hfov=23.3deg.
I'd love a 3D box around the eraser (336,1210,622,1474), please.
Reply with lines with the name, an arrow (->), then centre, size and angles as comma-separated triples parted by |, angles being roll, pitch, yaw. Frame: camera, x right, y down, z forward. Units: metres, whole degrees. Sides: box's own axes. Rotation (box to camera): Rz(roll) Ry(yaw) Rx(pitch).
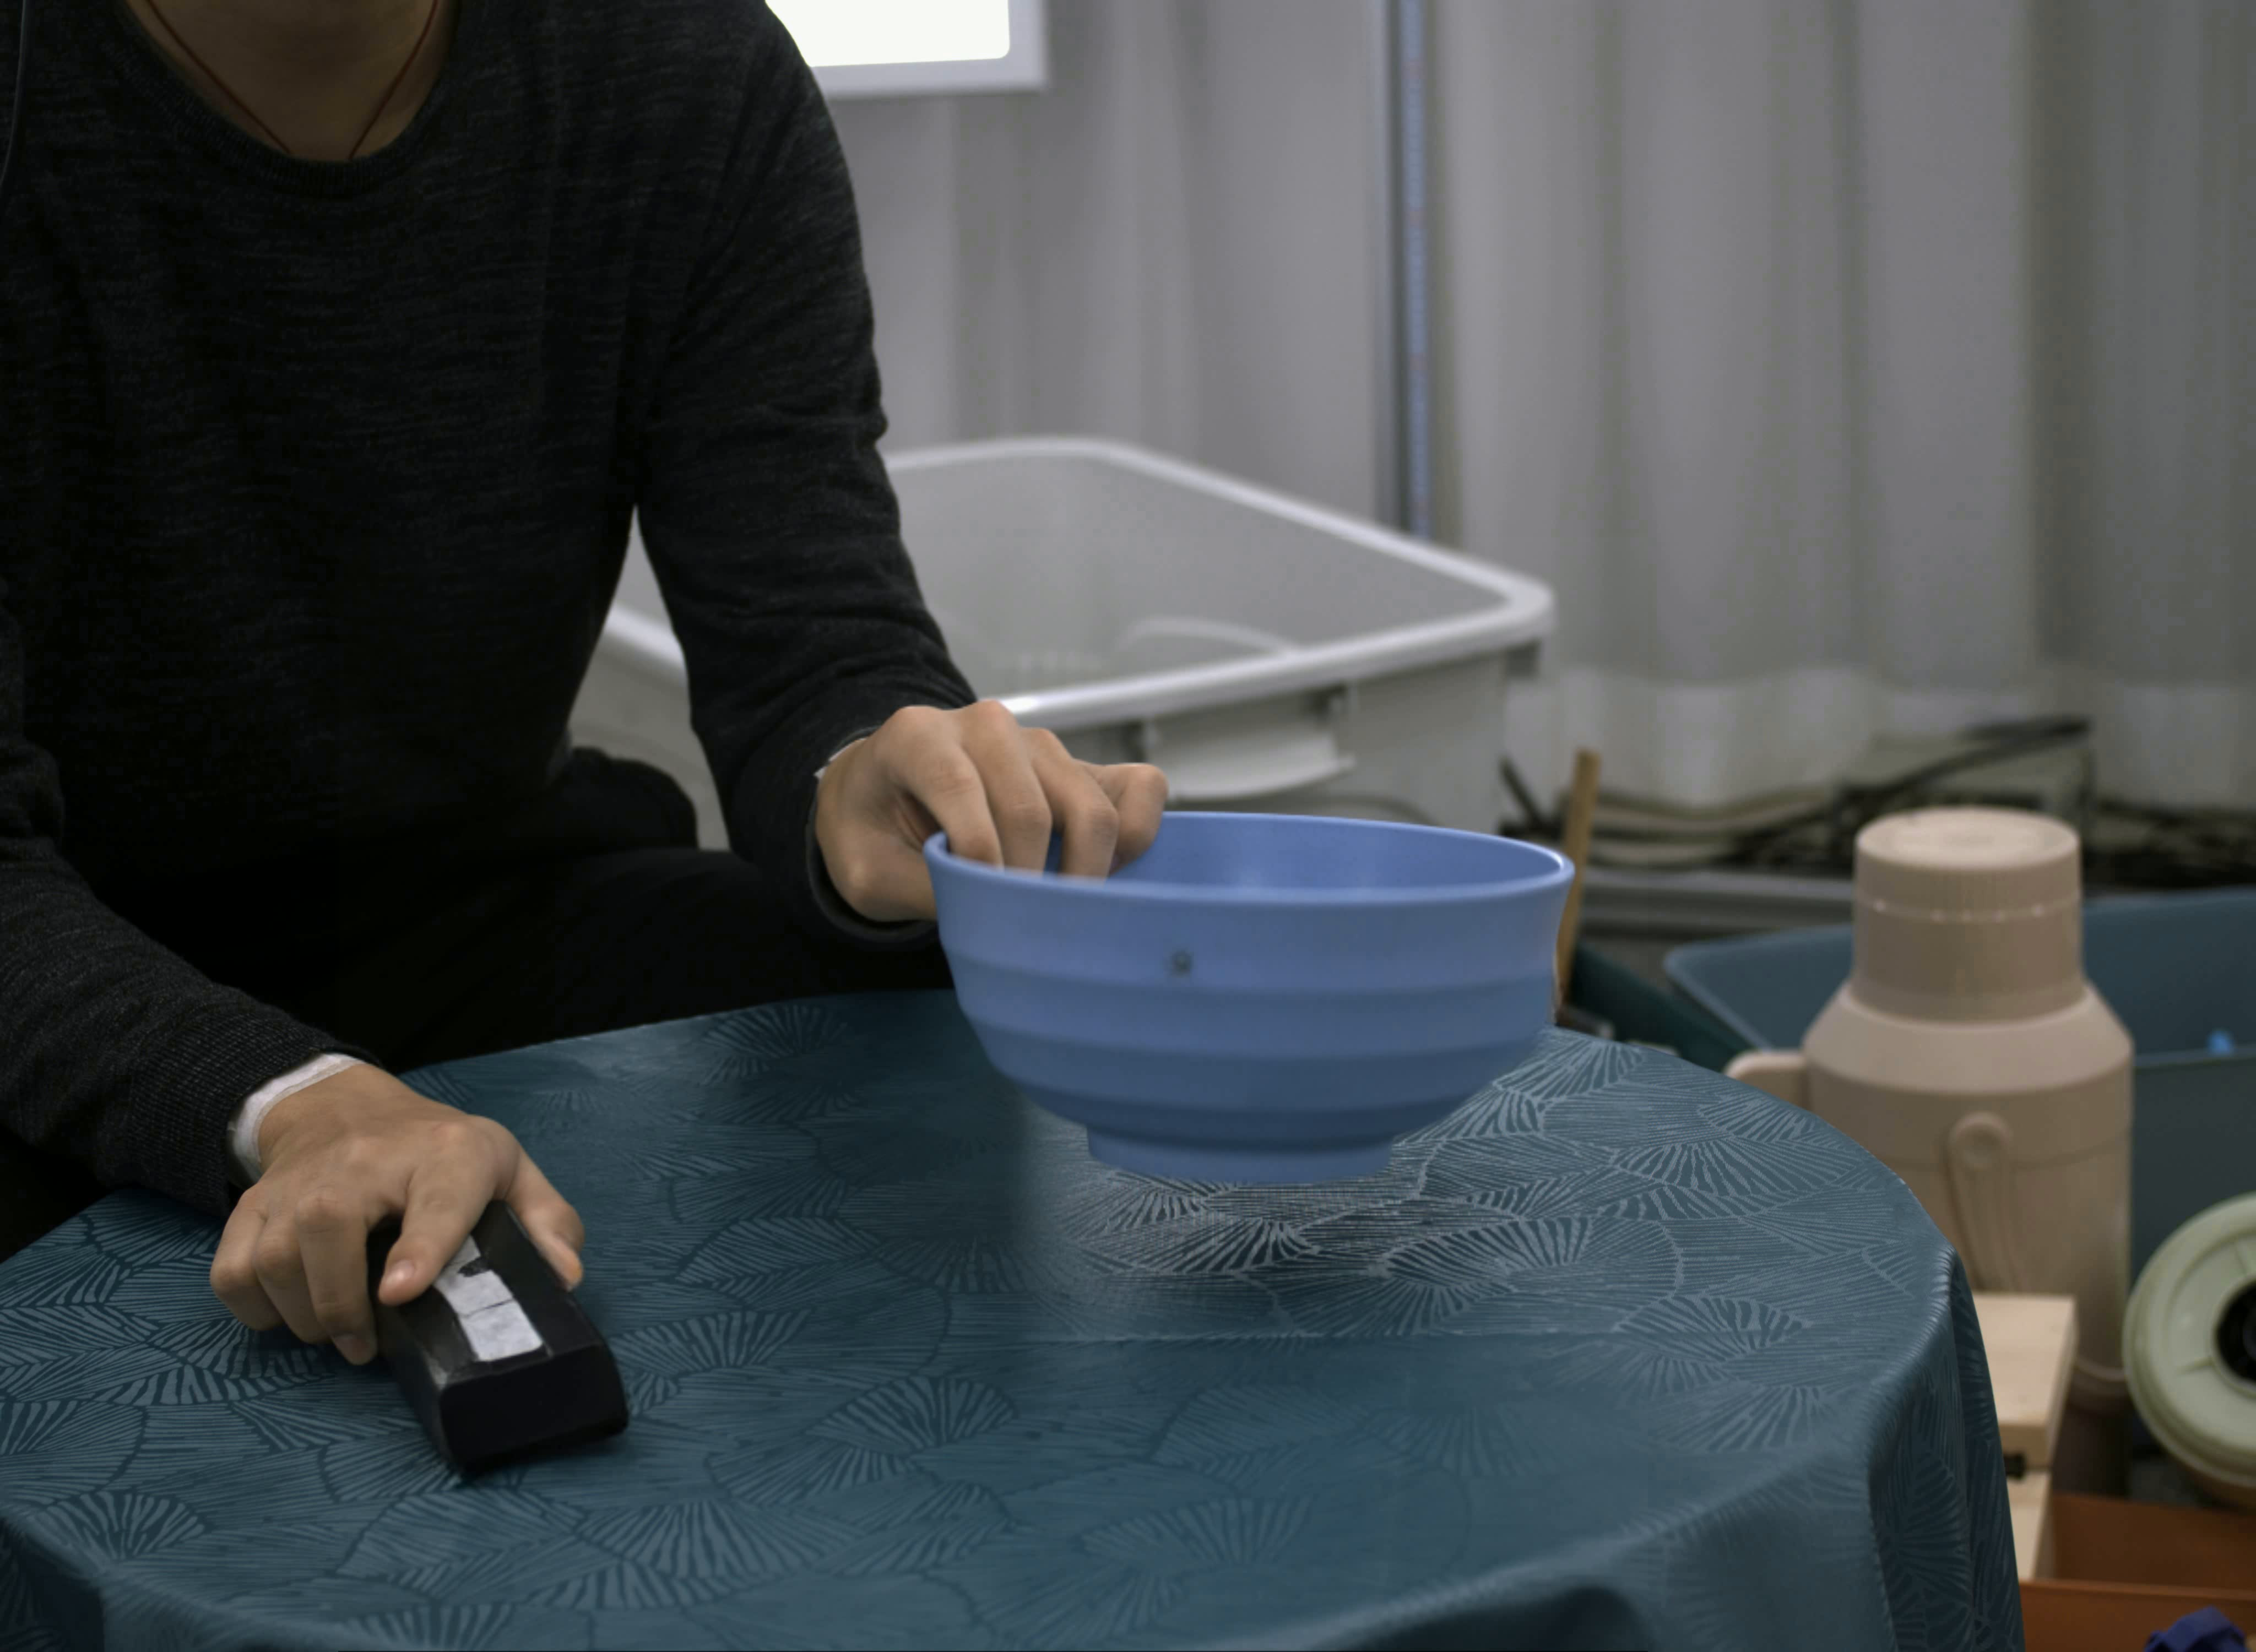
eraser -> -0.185, 0.146, 1.561 | 0.053, 0.030, 0.126 | -13, 19, -18

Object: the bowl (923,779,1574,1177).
bowl -> 0.038, 0.049, 1.656 | 0.196, 0.095, 0.197 | -2, 11, 0
